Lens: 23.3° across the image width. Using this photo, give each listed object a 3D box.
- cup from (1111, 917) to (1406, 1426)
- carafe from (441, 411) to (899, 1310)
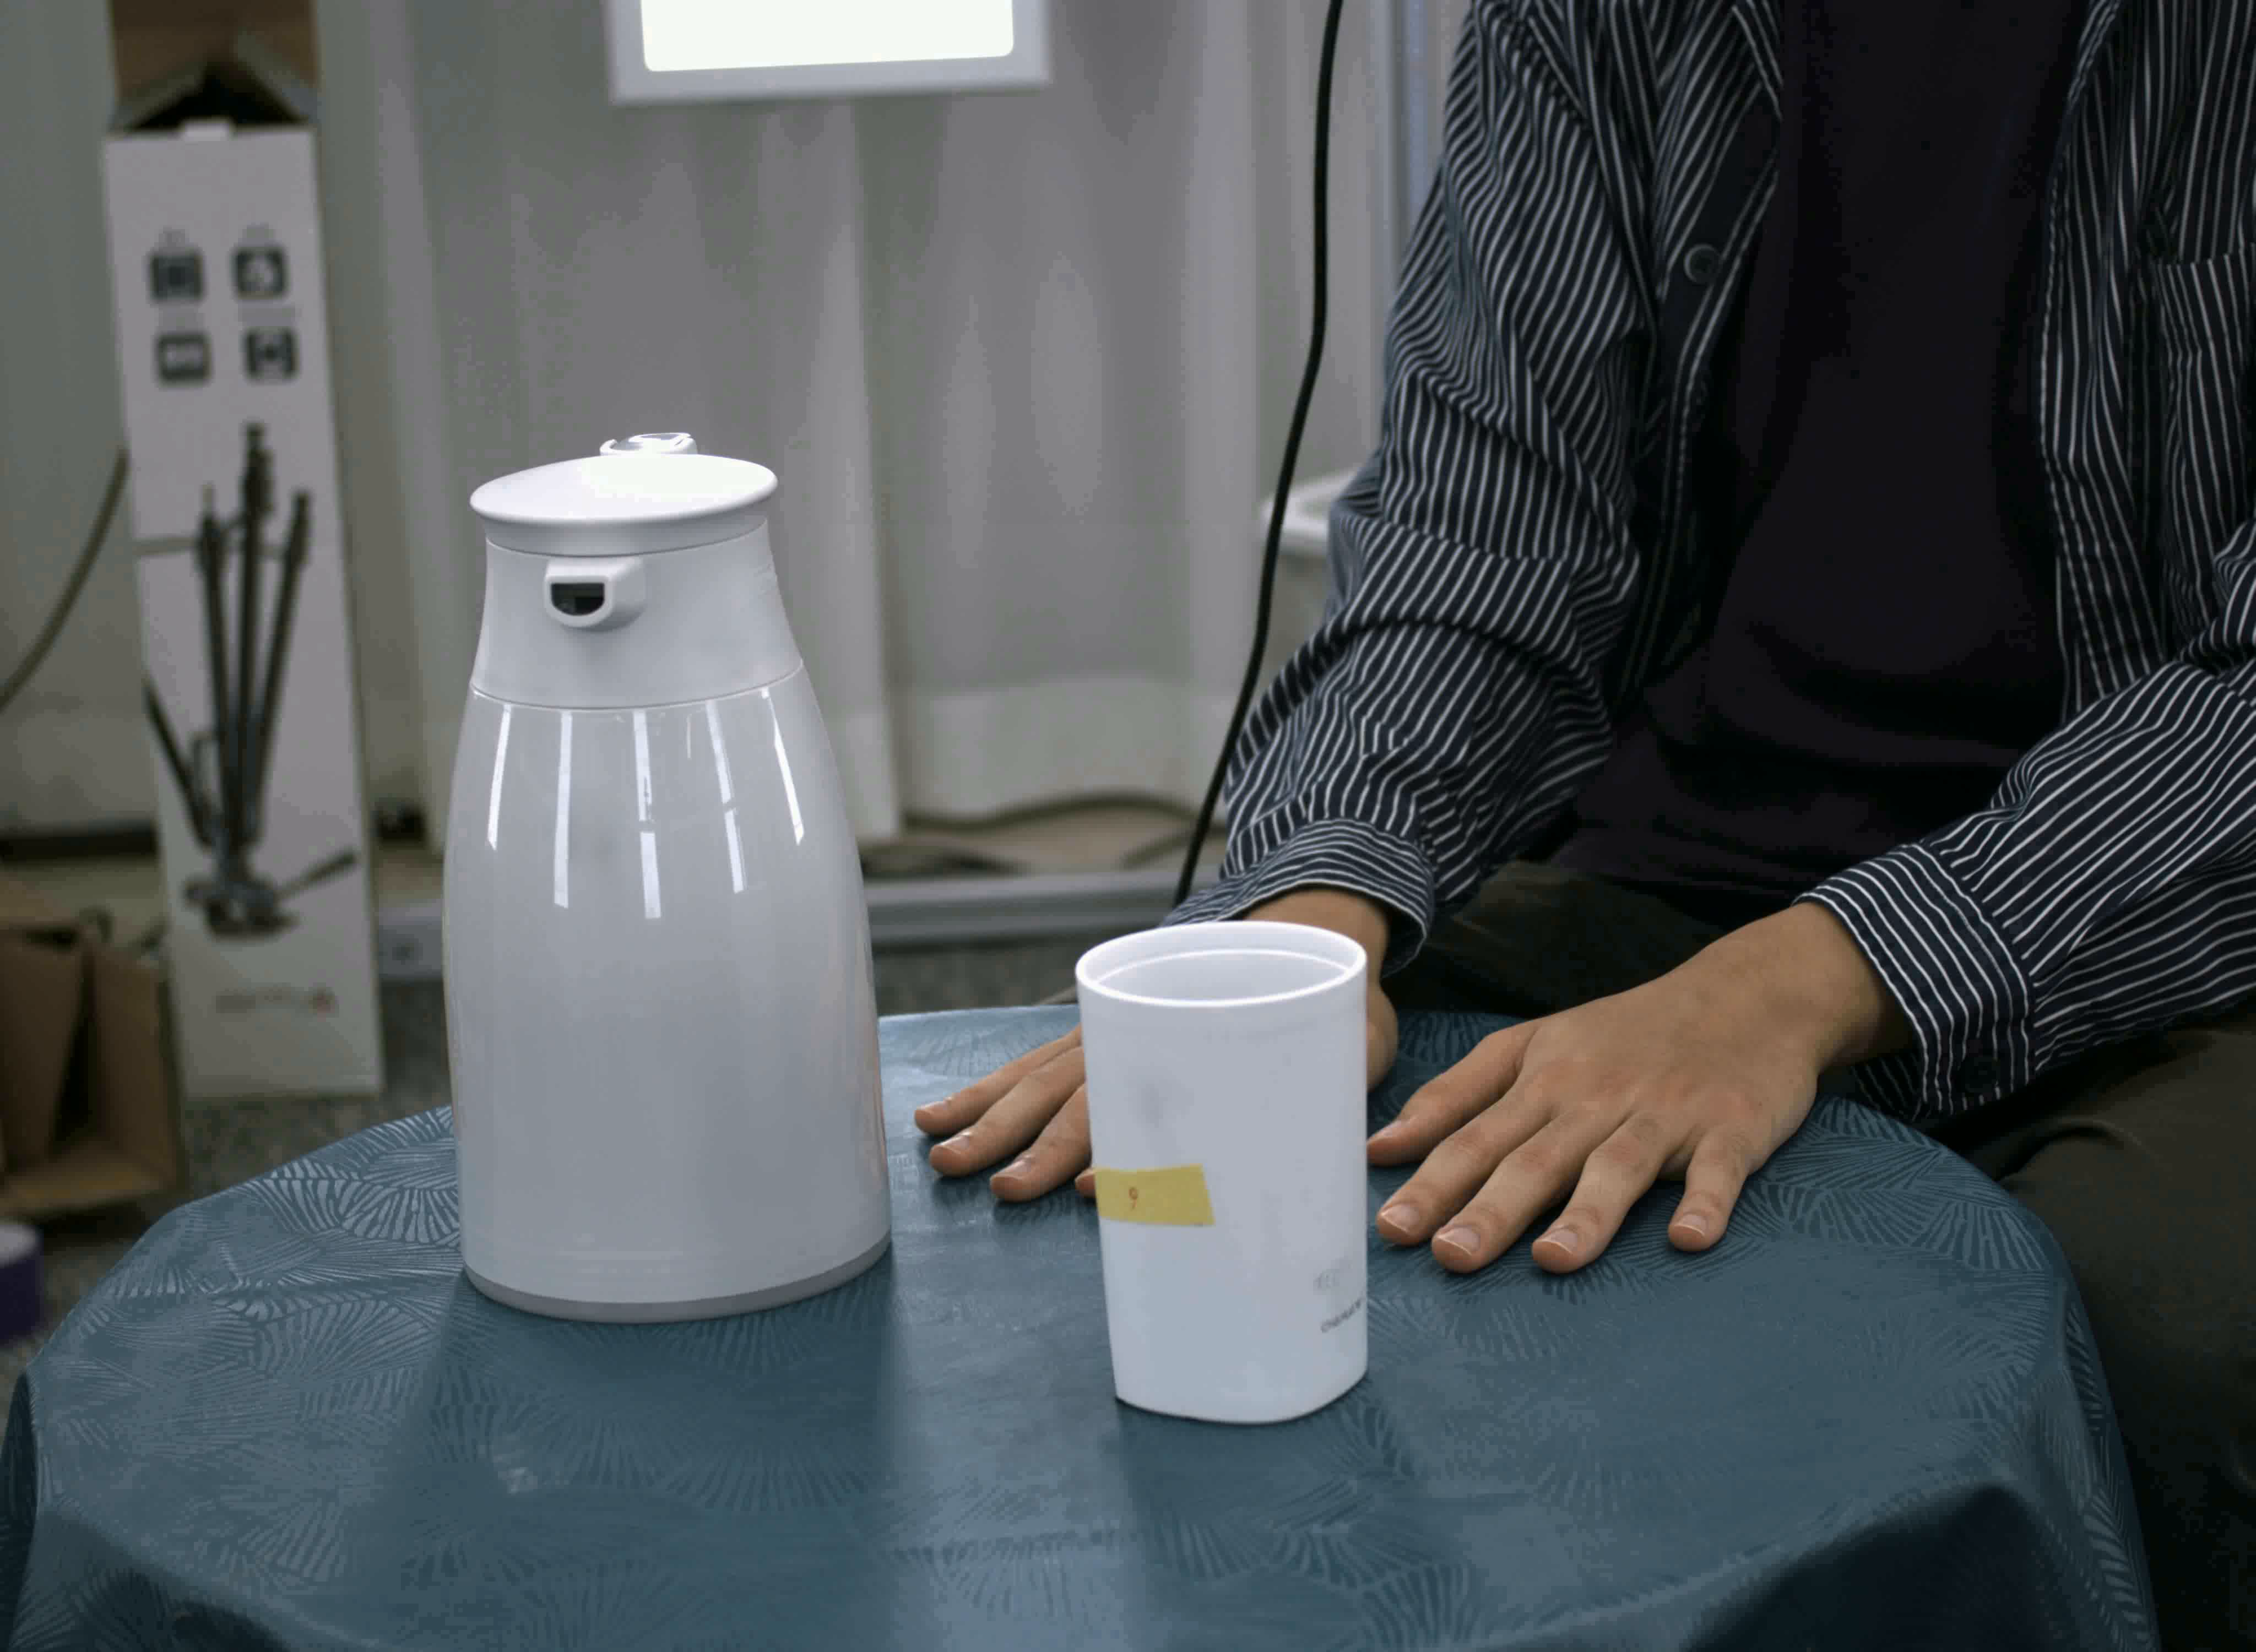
[{"bbox_3d":[0.039,0.097,1.524,0.081,0.125,0.082,-3,14,1],"label":"cup"},{"bbox_3d":[-0.146,0.001,1.674,0.132,0.247,0.169,-4,16,3],"label":"carafe"}]
